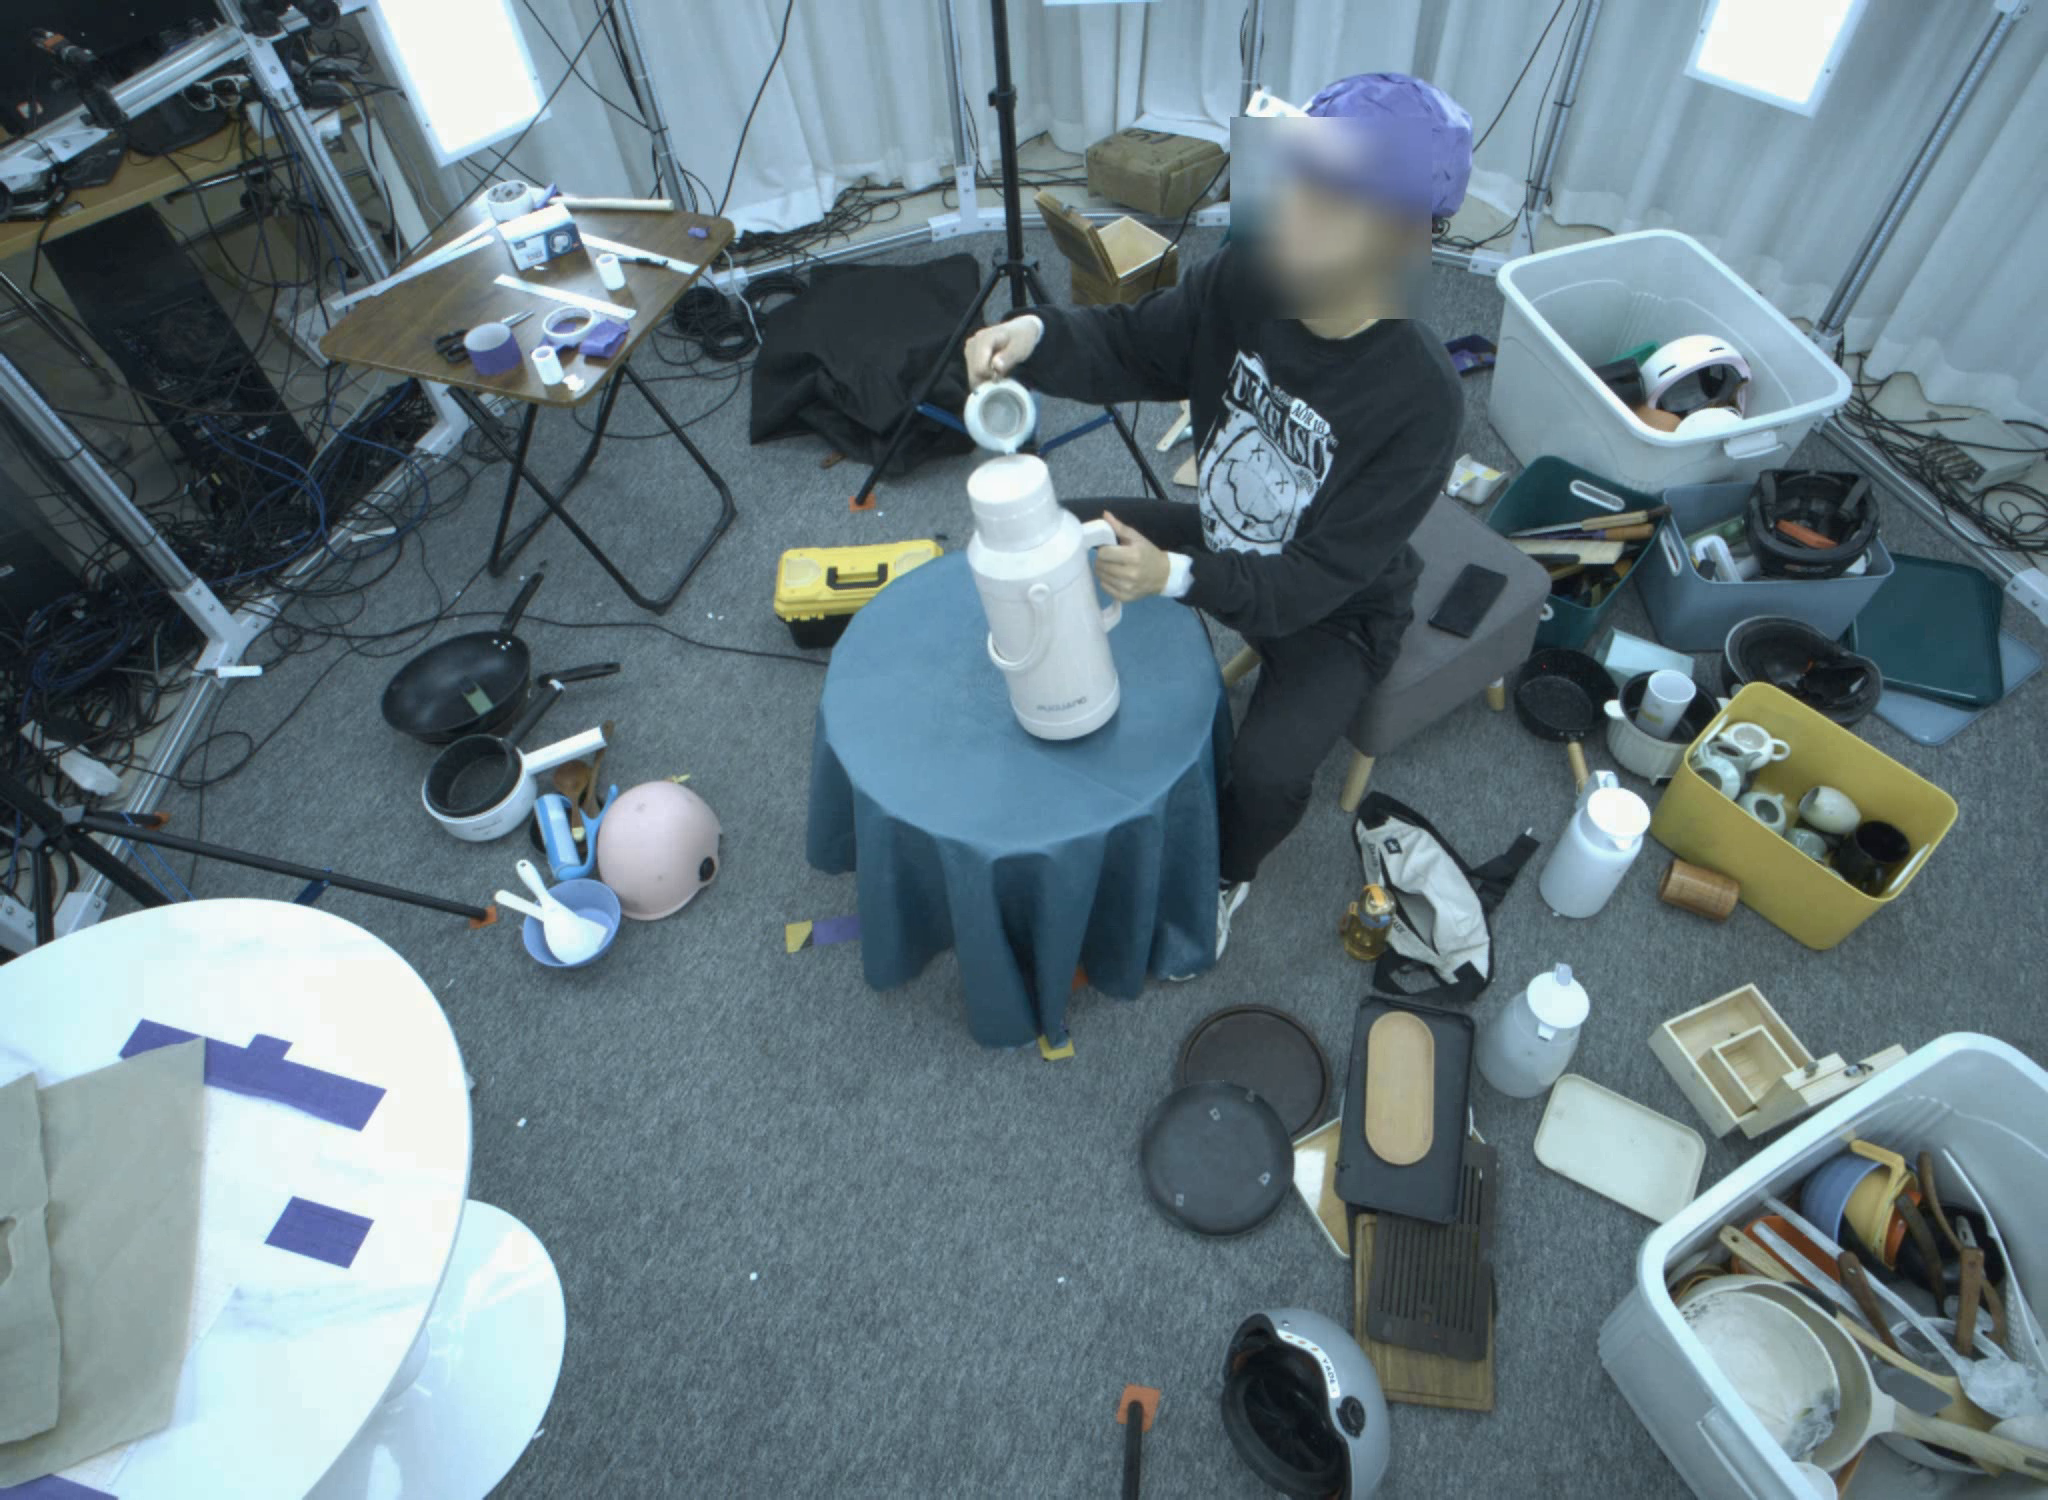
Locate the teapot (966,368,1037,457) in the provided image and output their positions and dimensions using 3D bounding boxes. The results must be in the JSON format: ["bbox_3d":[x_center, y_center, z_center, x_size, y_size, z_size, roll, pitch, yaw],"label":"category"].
[{"bbox_3d":[-0.033,-0.437,1.545,0.092,0.129,0.059,-14,13,-4],"label":"teapot"}]

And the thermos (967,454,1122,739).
[{"bbox_3d":[0.035,-0.209,1.670,0.207,0.413,0.172,-17,45,1],"label":"thermos"}]
